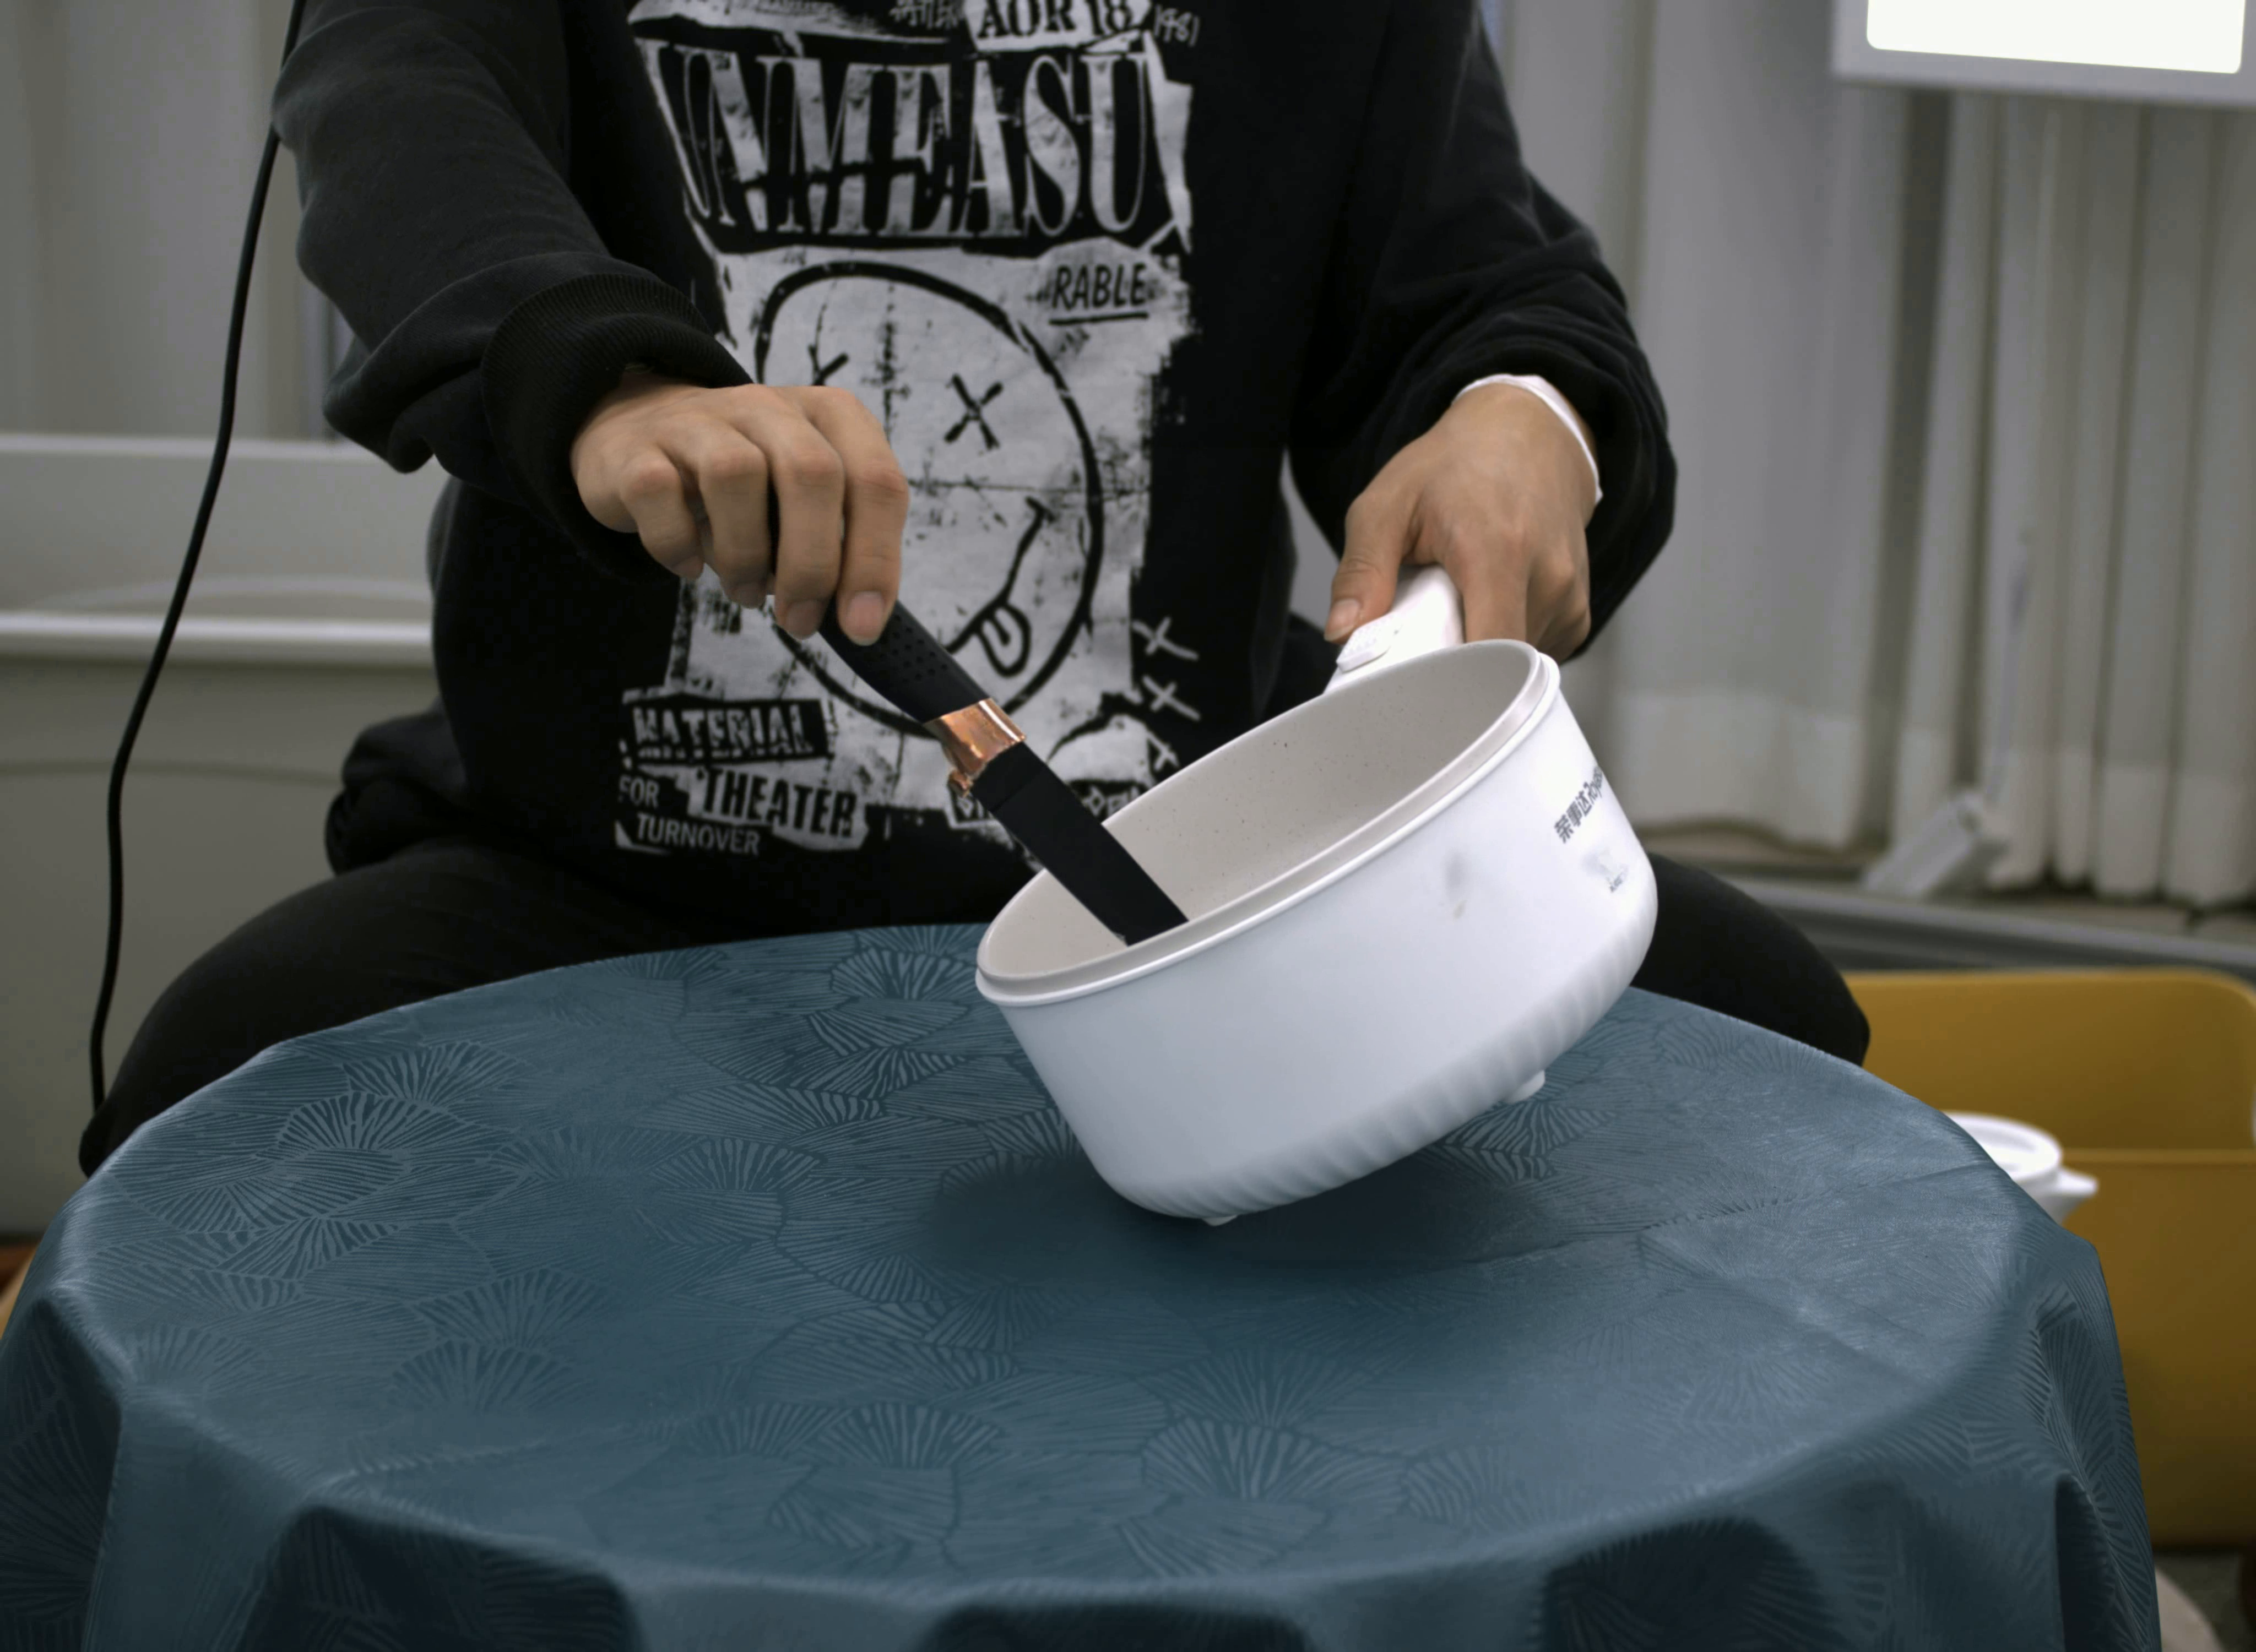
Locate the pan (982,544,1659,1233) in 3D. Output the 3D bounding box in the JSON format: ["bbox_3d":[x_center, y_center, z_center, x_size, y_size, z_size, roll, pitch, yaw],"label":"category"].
[{"bbox_3d":[0.083,0.011,1.672,0.200,0.103,0.354,-26,12,23],"label":"pan"}]

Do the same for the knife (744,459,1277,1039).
[{"bbox_3d":[-0.033,-0.022,1.518,0.225,0.017,0.026,46,29,5],"label":"knife"}]
